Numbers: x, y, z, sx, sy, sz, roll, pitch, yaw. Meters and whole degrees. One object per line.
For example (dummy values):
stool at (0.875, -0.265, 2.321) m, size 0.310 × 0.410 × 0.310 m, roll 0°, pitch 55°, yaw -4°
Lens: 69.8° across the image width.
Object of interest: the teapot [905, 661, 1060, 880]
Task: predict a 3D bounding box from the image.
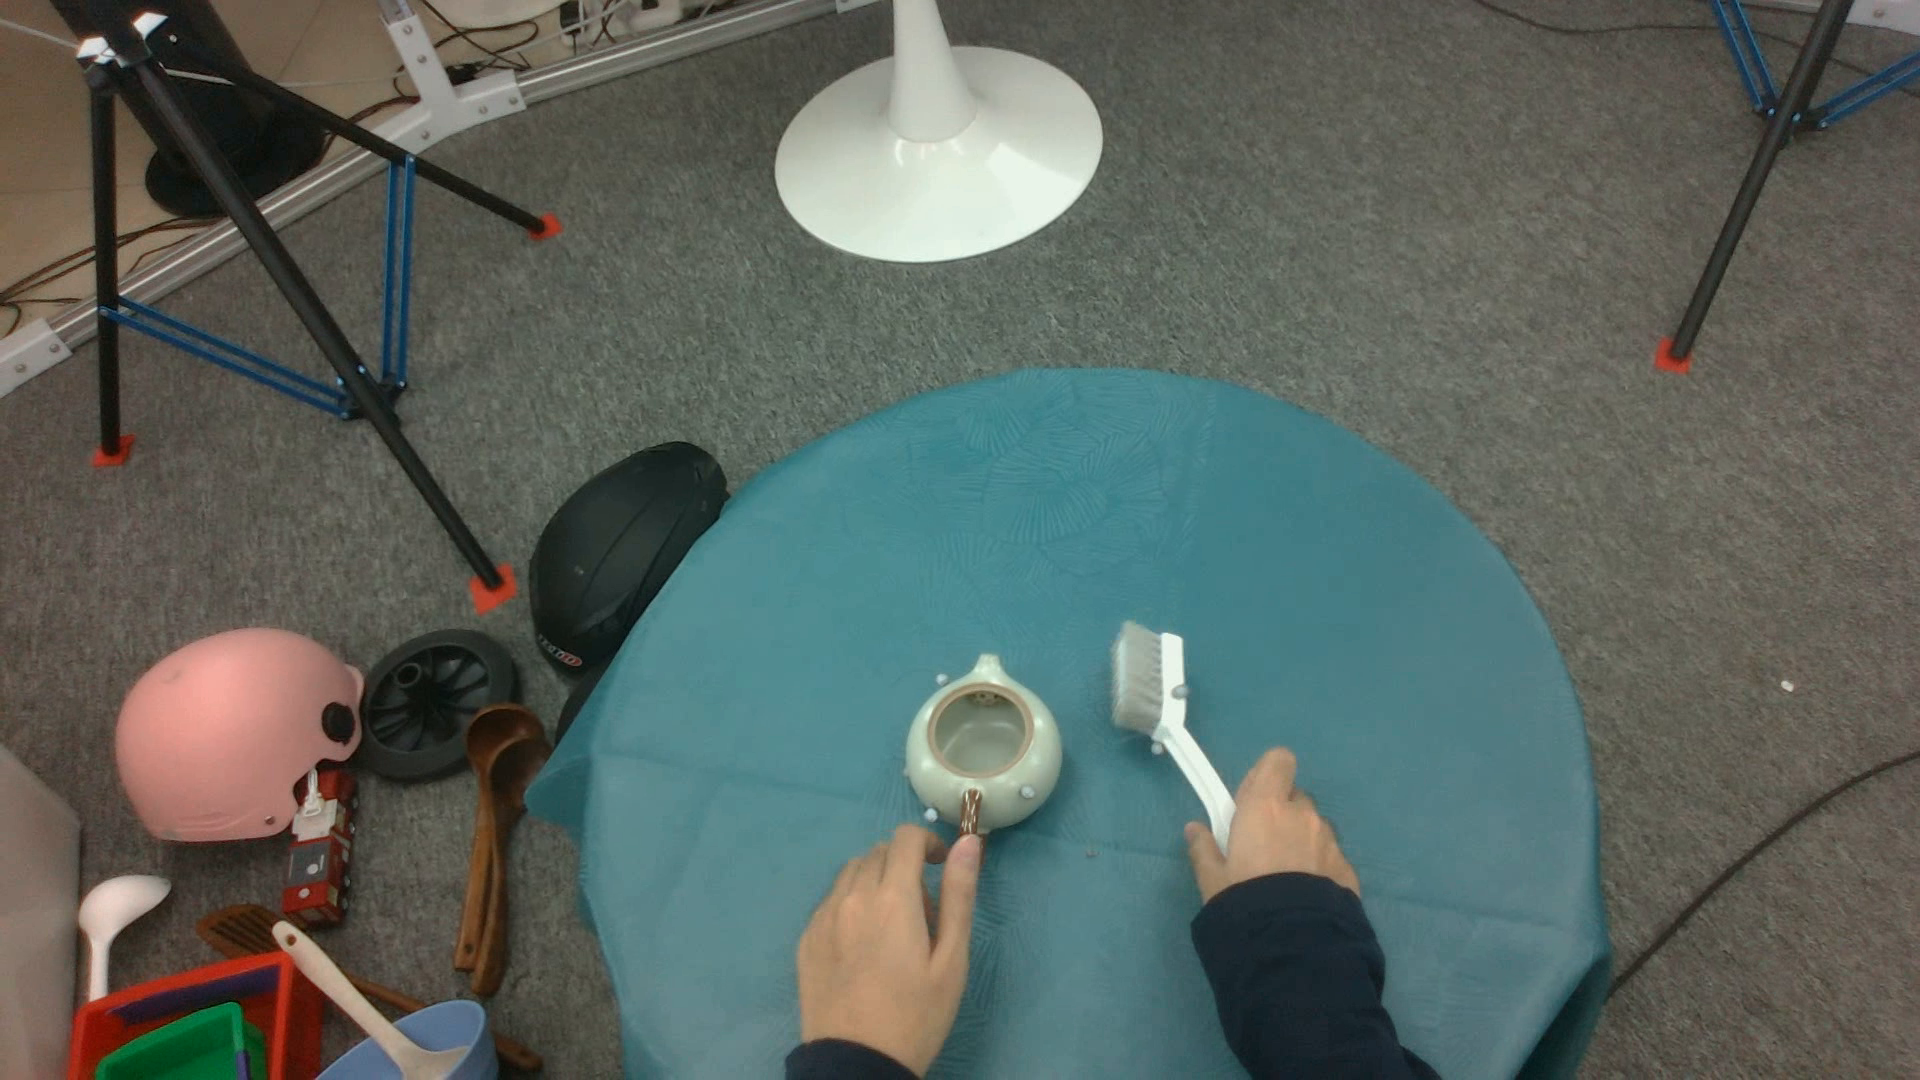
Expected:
teapot at (0.012, 0.137, 0.809) m, size 0.092 × 0.059 × 0.128 m, roll 1°, pitch 53°, yaw 5°

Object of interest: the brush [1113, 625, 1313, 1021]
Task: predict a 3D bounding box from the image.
brush at (0.134, 0.153, 0.777) m, size 0.050 × 0.034 × 0.244 m, roll 5°, pitch 49°, yaw -26°
